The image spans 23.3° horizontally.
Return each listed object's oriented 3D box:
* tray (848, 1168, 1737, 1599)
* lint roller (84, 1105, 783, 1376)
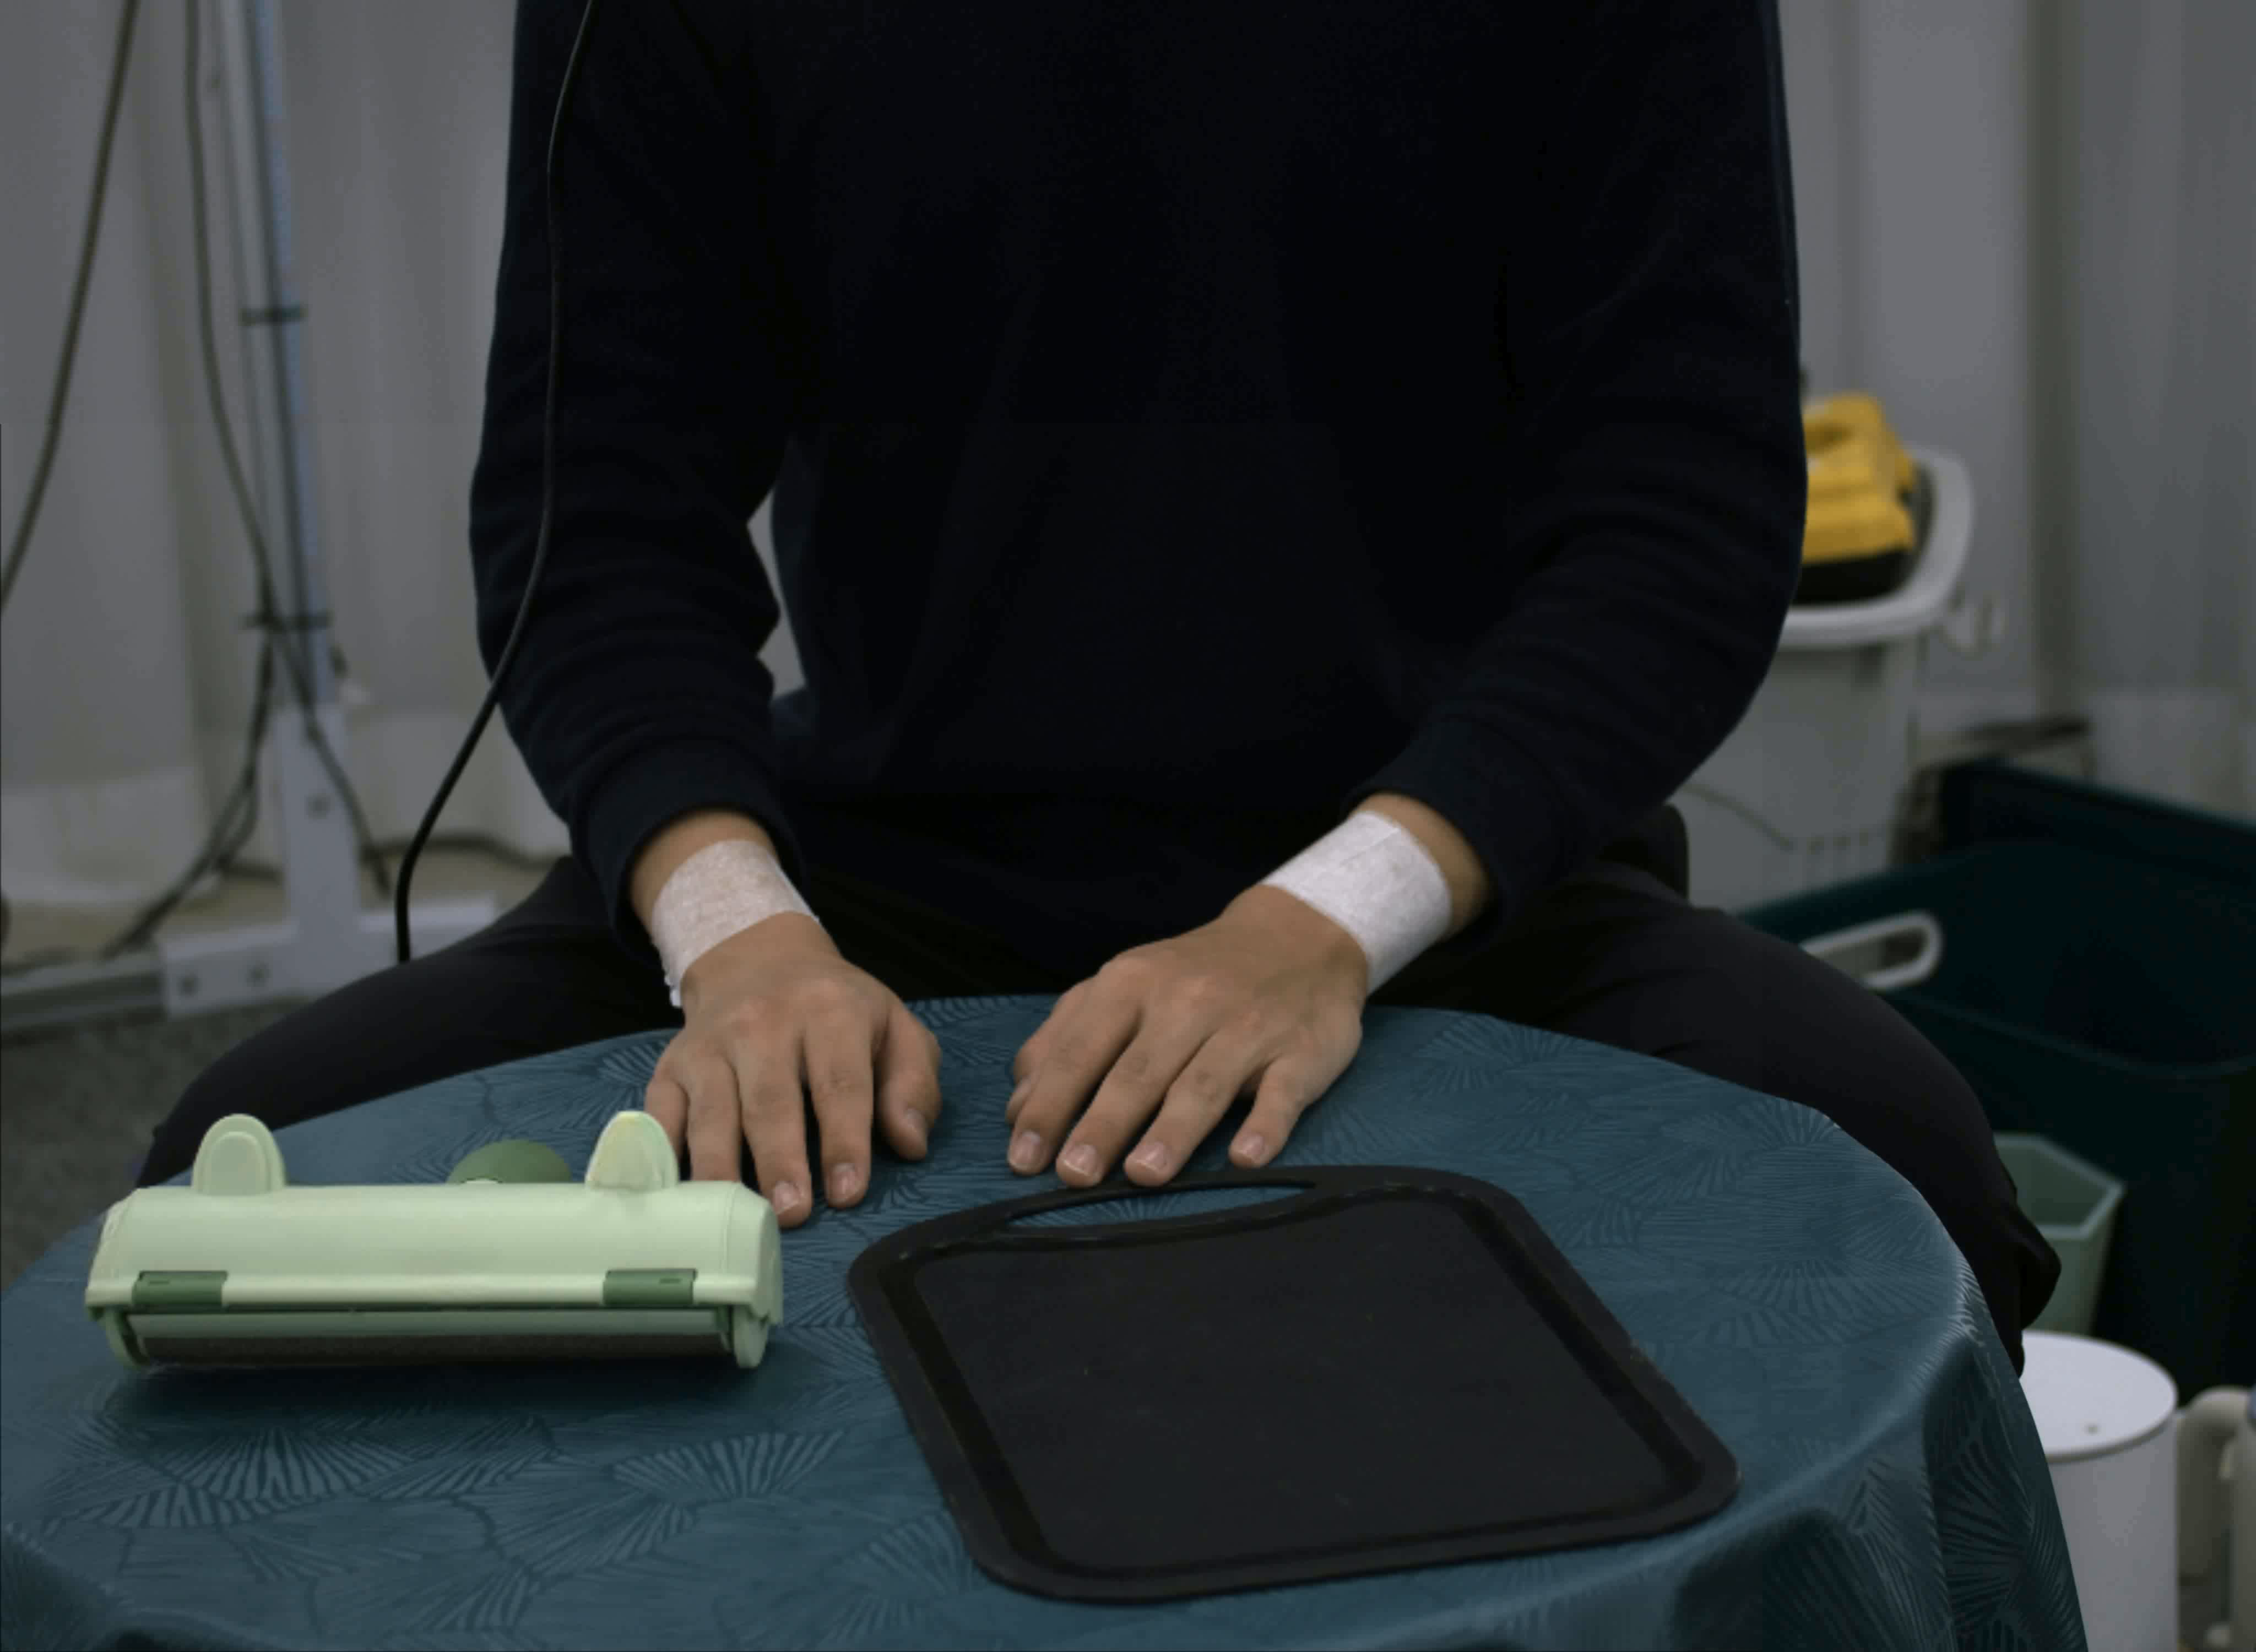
[{"bbox_3d":[0.037,0.151,1.562,0.210,0.010,0.328,-6,15,-10],"label":"tray"},{"bbox_3d":[-0.196,0.103,1.633,0.198,0.081,0.185,-1,21,4],"label":"lint roller"}]
